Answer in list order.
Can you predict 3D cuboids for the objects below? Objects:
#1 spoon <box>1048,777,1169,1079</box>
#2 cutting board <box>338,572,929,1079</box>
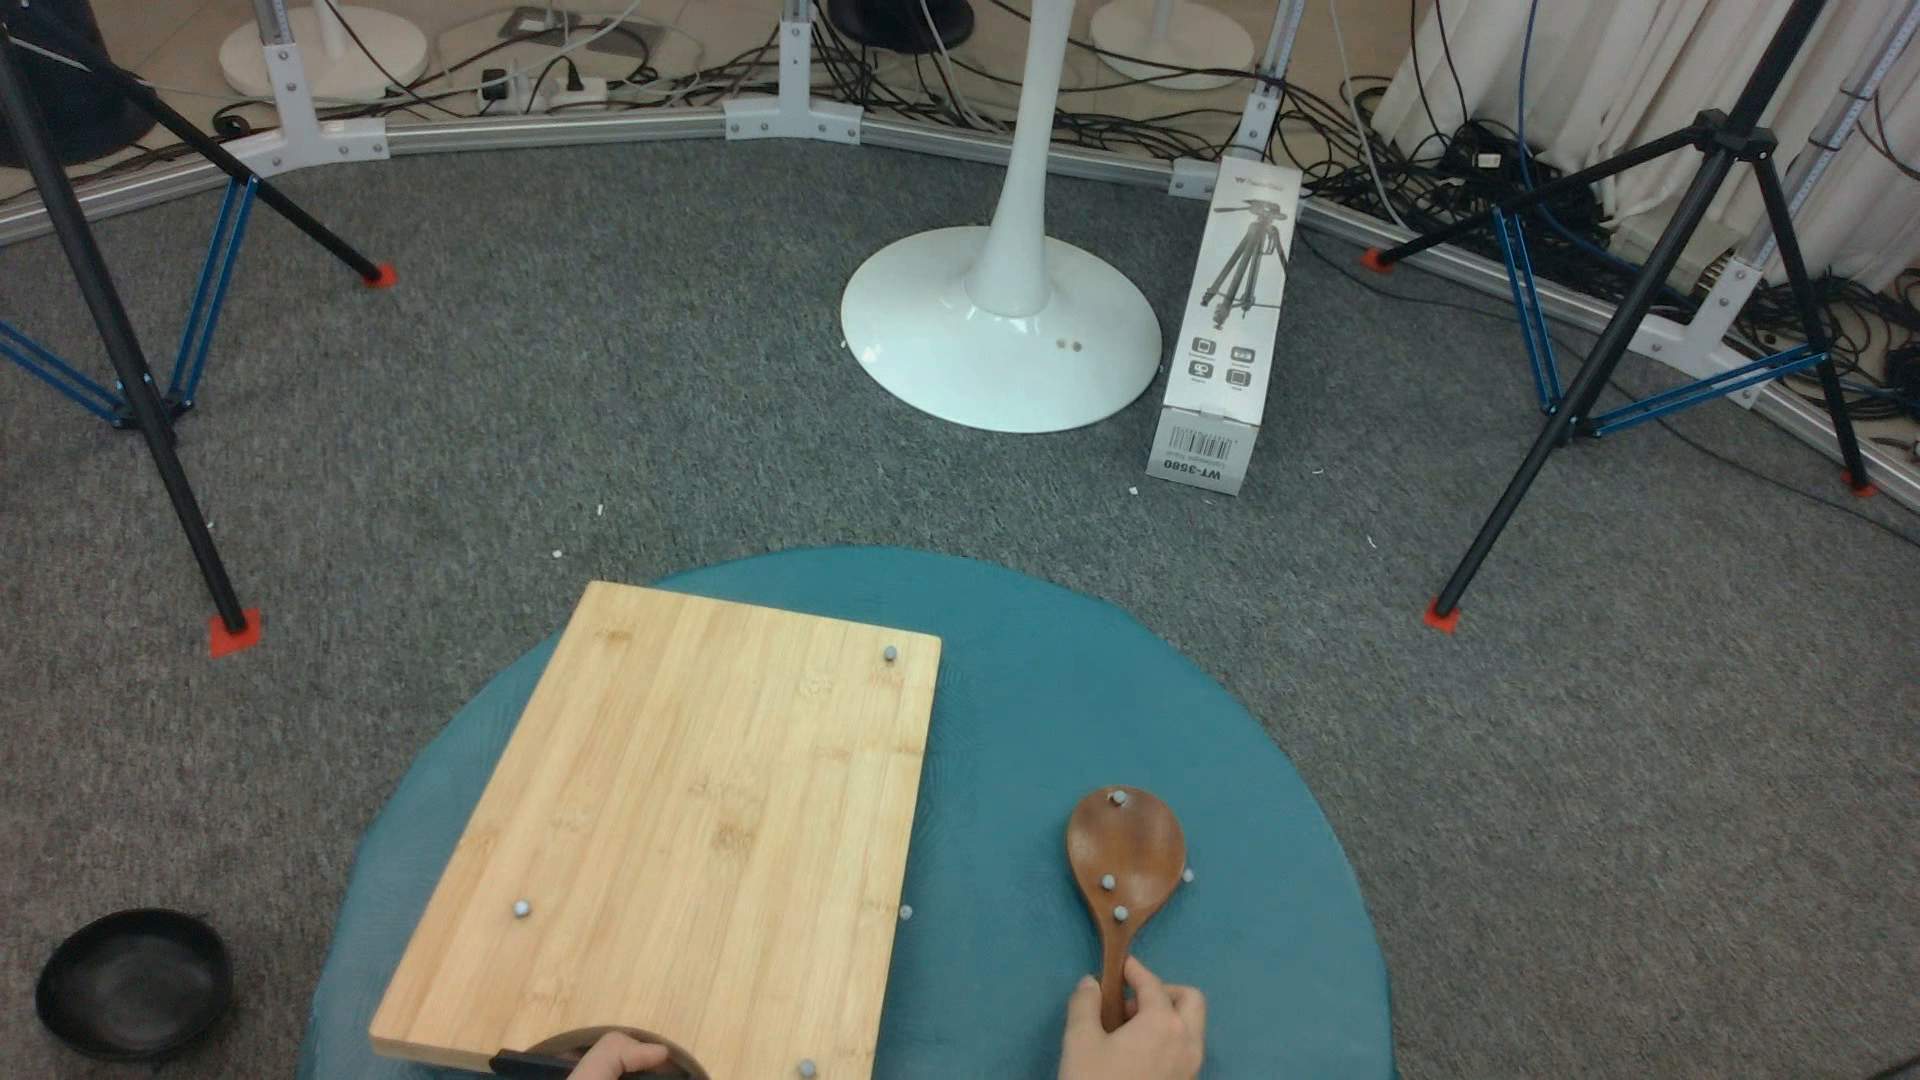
[{"bbox_3d":[0.080,0.224,0.790,0.075,0.017,0.217,14,41,0],"label":"spoon"},{"bbox_3d":[-0.157,0.154,0.788,0.251,0.023,0.350,9,38,-1],"label":"cutting board"}]
